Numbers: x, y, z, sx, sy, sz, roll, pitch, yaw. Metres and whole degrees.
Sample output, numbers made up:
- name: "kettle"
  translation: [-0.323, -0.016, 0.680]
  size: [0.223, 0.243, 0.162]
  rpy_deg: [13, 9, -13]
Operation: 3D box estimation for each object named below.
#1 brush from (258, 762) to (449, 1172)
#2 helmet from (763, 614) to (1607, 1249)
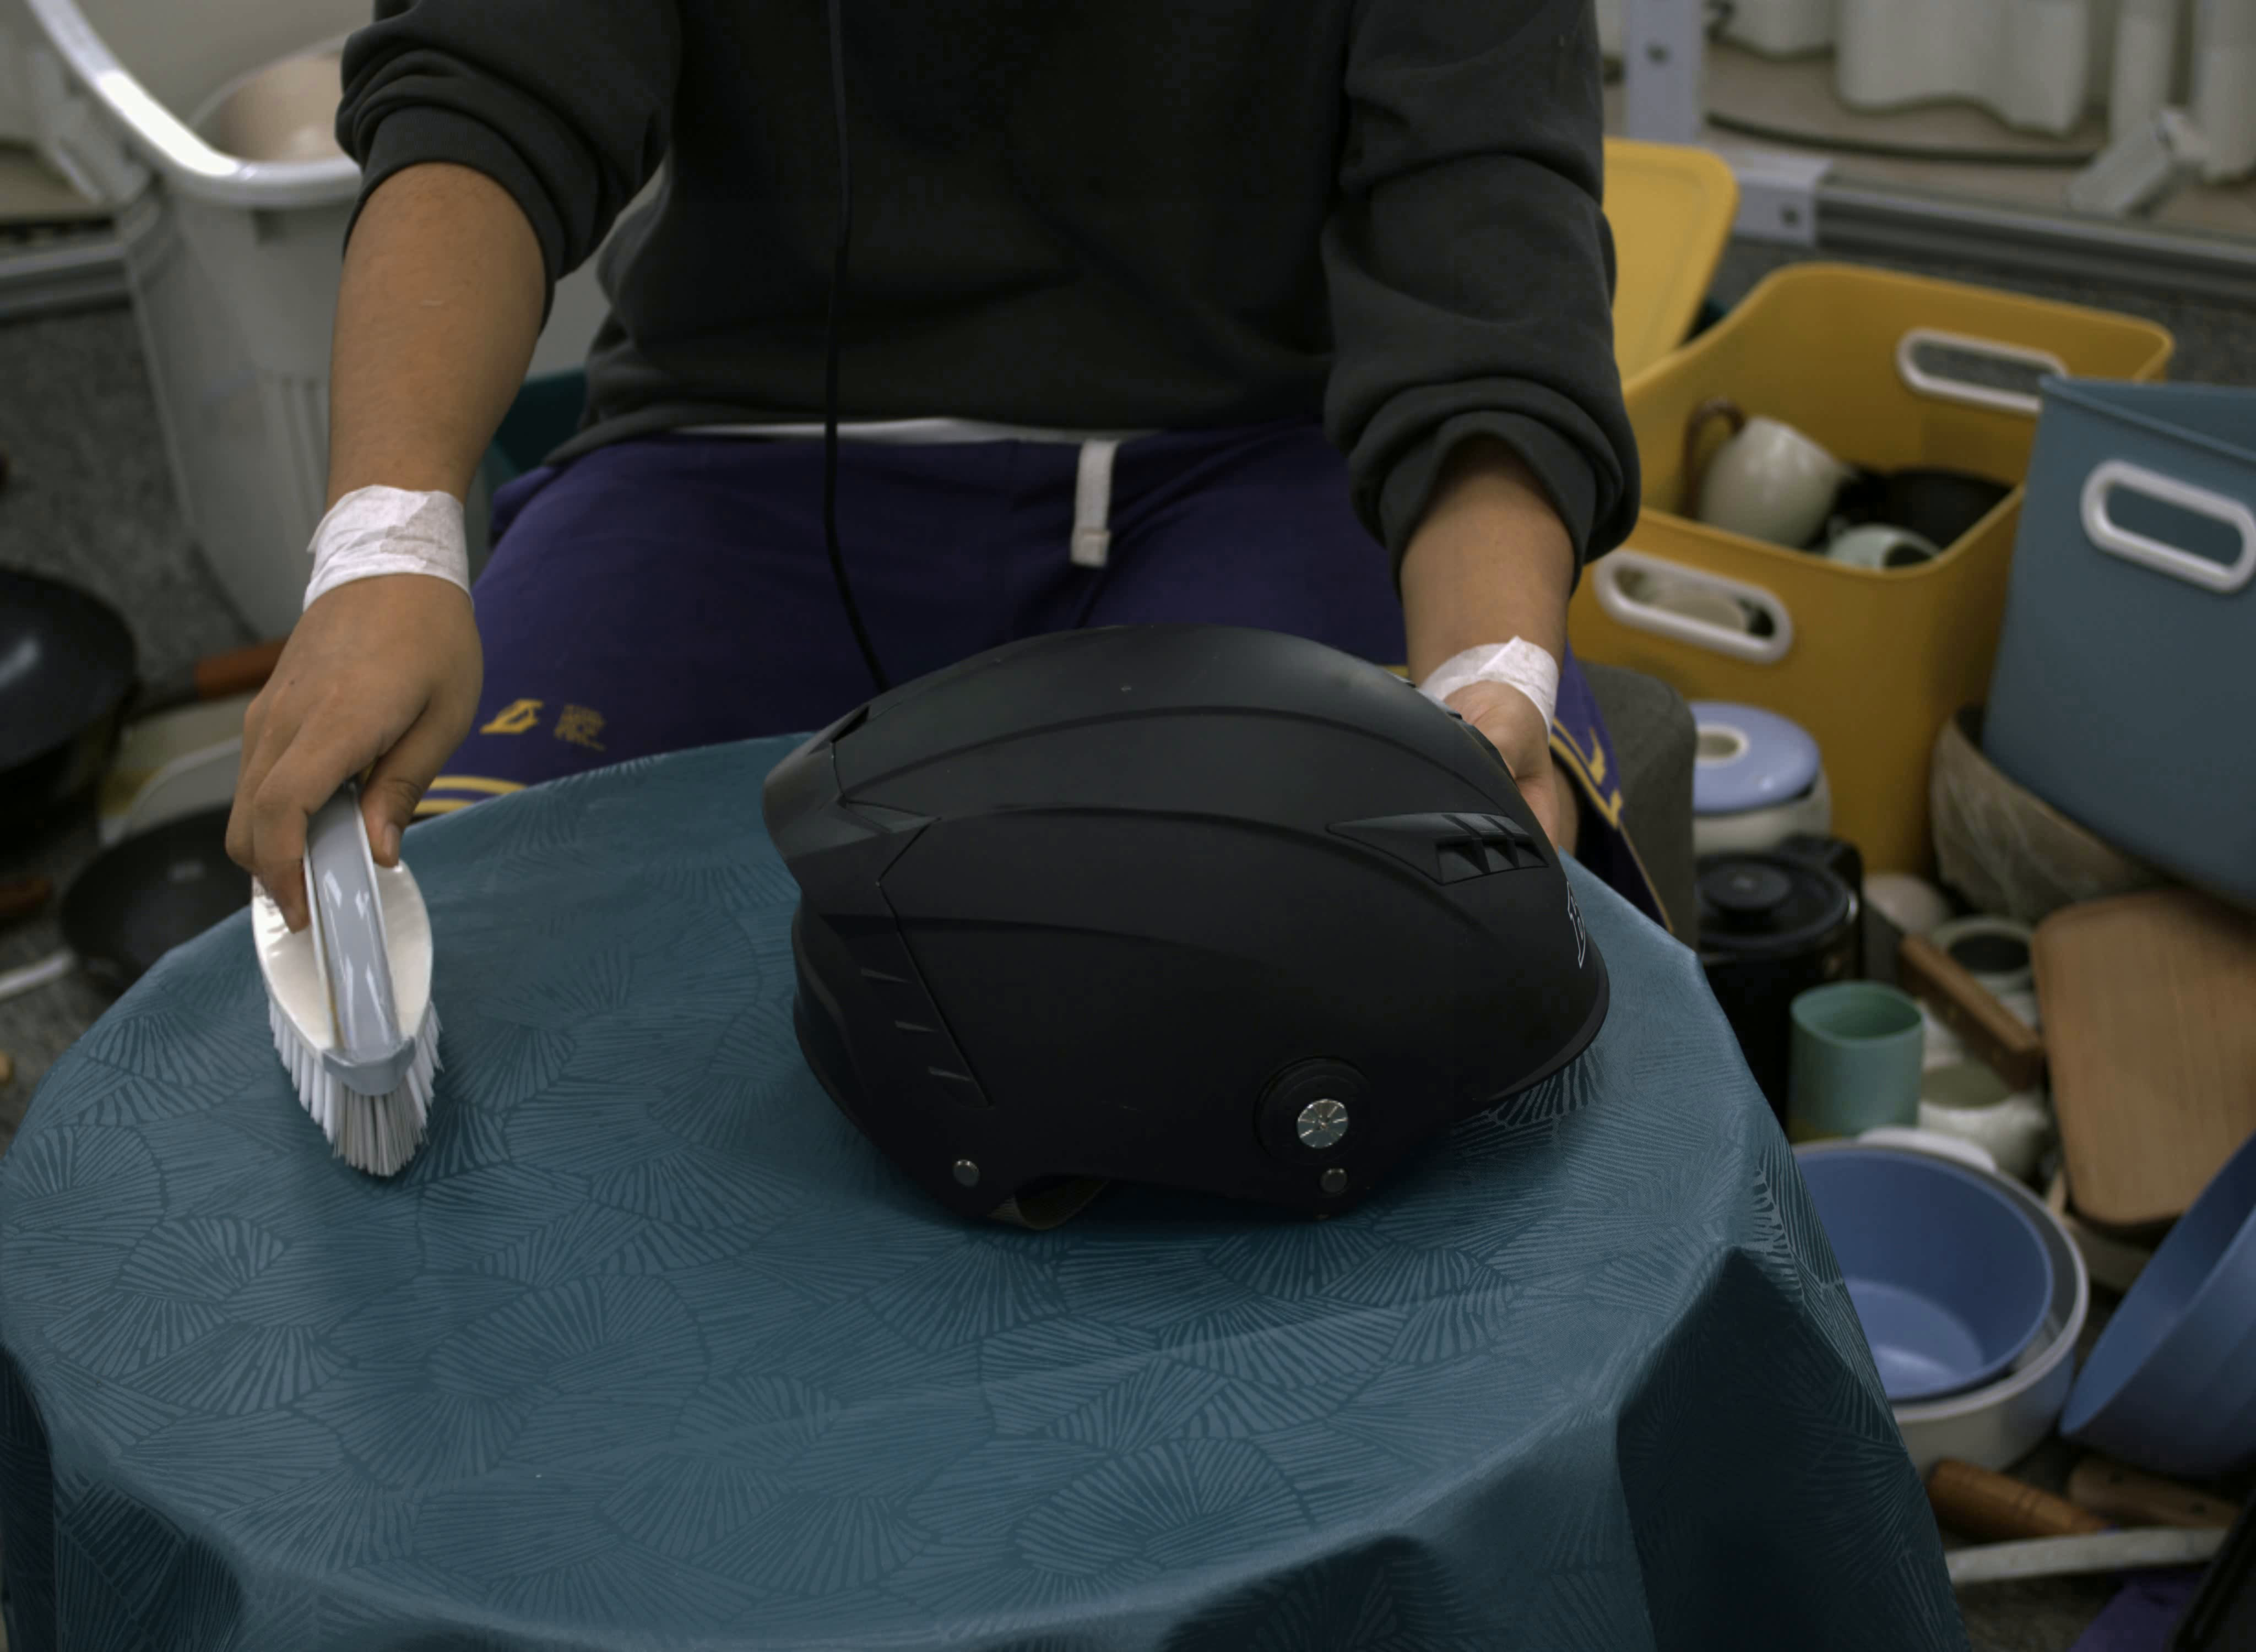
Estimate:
- name: "brush"
  translation: [-0.268, 0.042, 1.945]
  size: [0.061, 0.093, 0.177]
  rpy_deg: [-10, 30, -9]
- name: "helmet"
  translation: [0.018, 0.017, 1.893]
  size: [0.275, 0.170, 0.250]
  rpy_deg: [-9, 28, -1]
